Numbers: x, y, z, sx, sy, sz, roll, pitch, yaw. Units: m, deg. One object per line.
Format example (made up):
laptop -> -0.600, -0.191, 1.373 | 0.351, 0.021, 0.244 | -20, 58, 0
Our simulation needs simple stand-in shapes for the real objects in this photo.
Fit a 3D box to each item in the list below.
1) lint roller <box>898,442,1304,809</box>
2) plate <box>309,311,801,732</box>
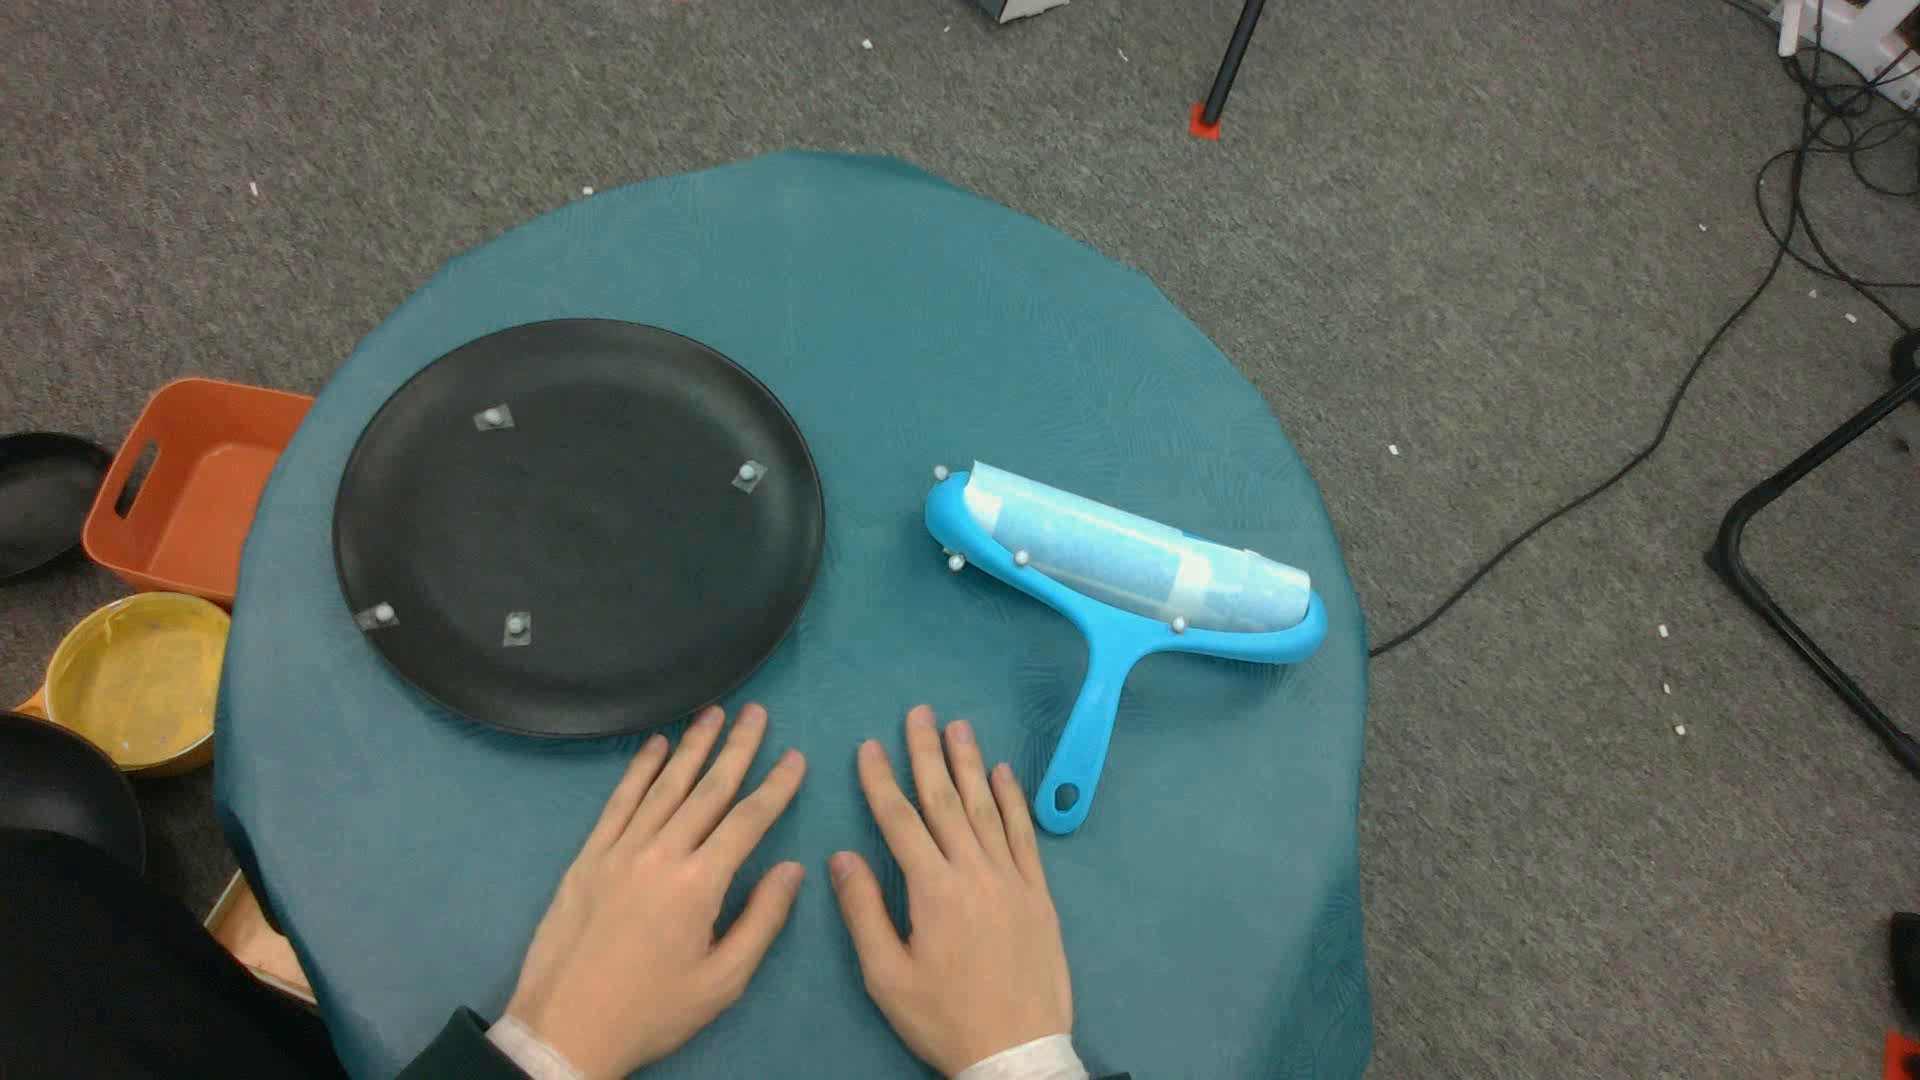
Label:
lint roller -> 0.067, 0.048, 0.724 | 0.229, 0.067, 0.181 | 14, 61, -5
plate -> -0.206, -0.013, 0.718 | 0.244, 0.023, 0.245 | 5, 62, -9
